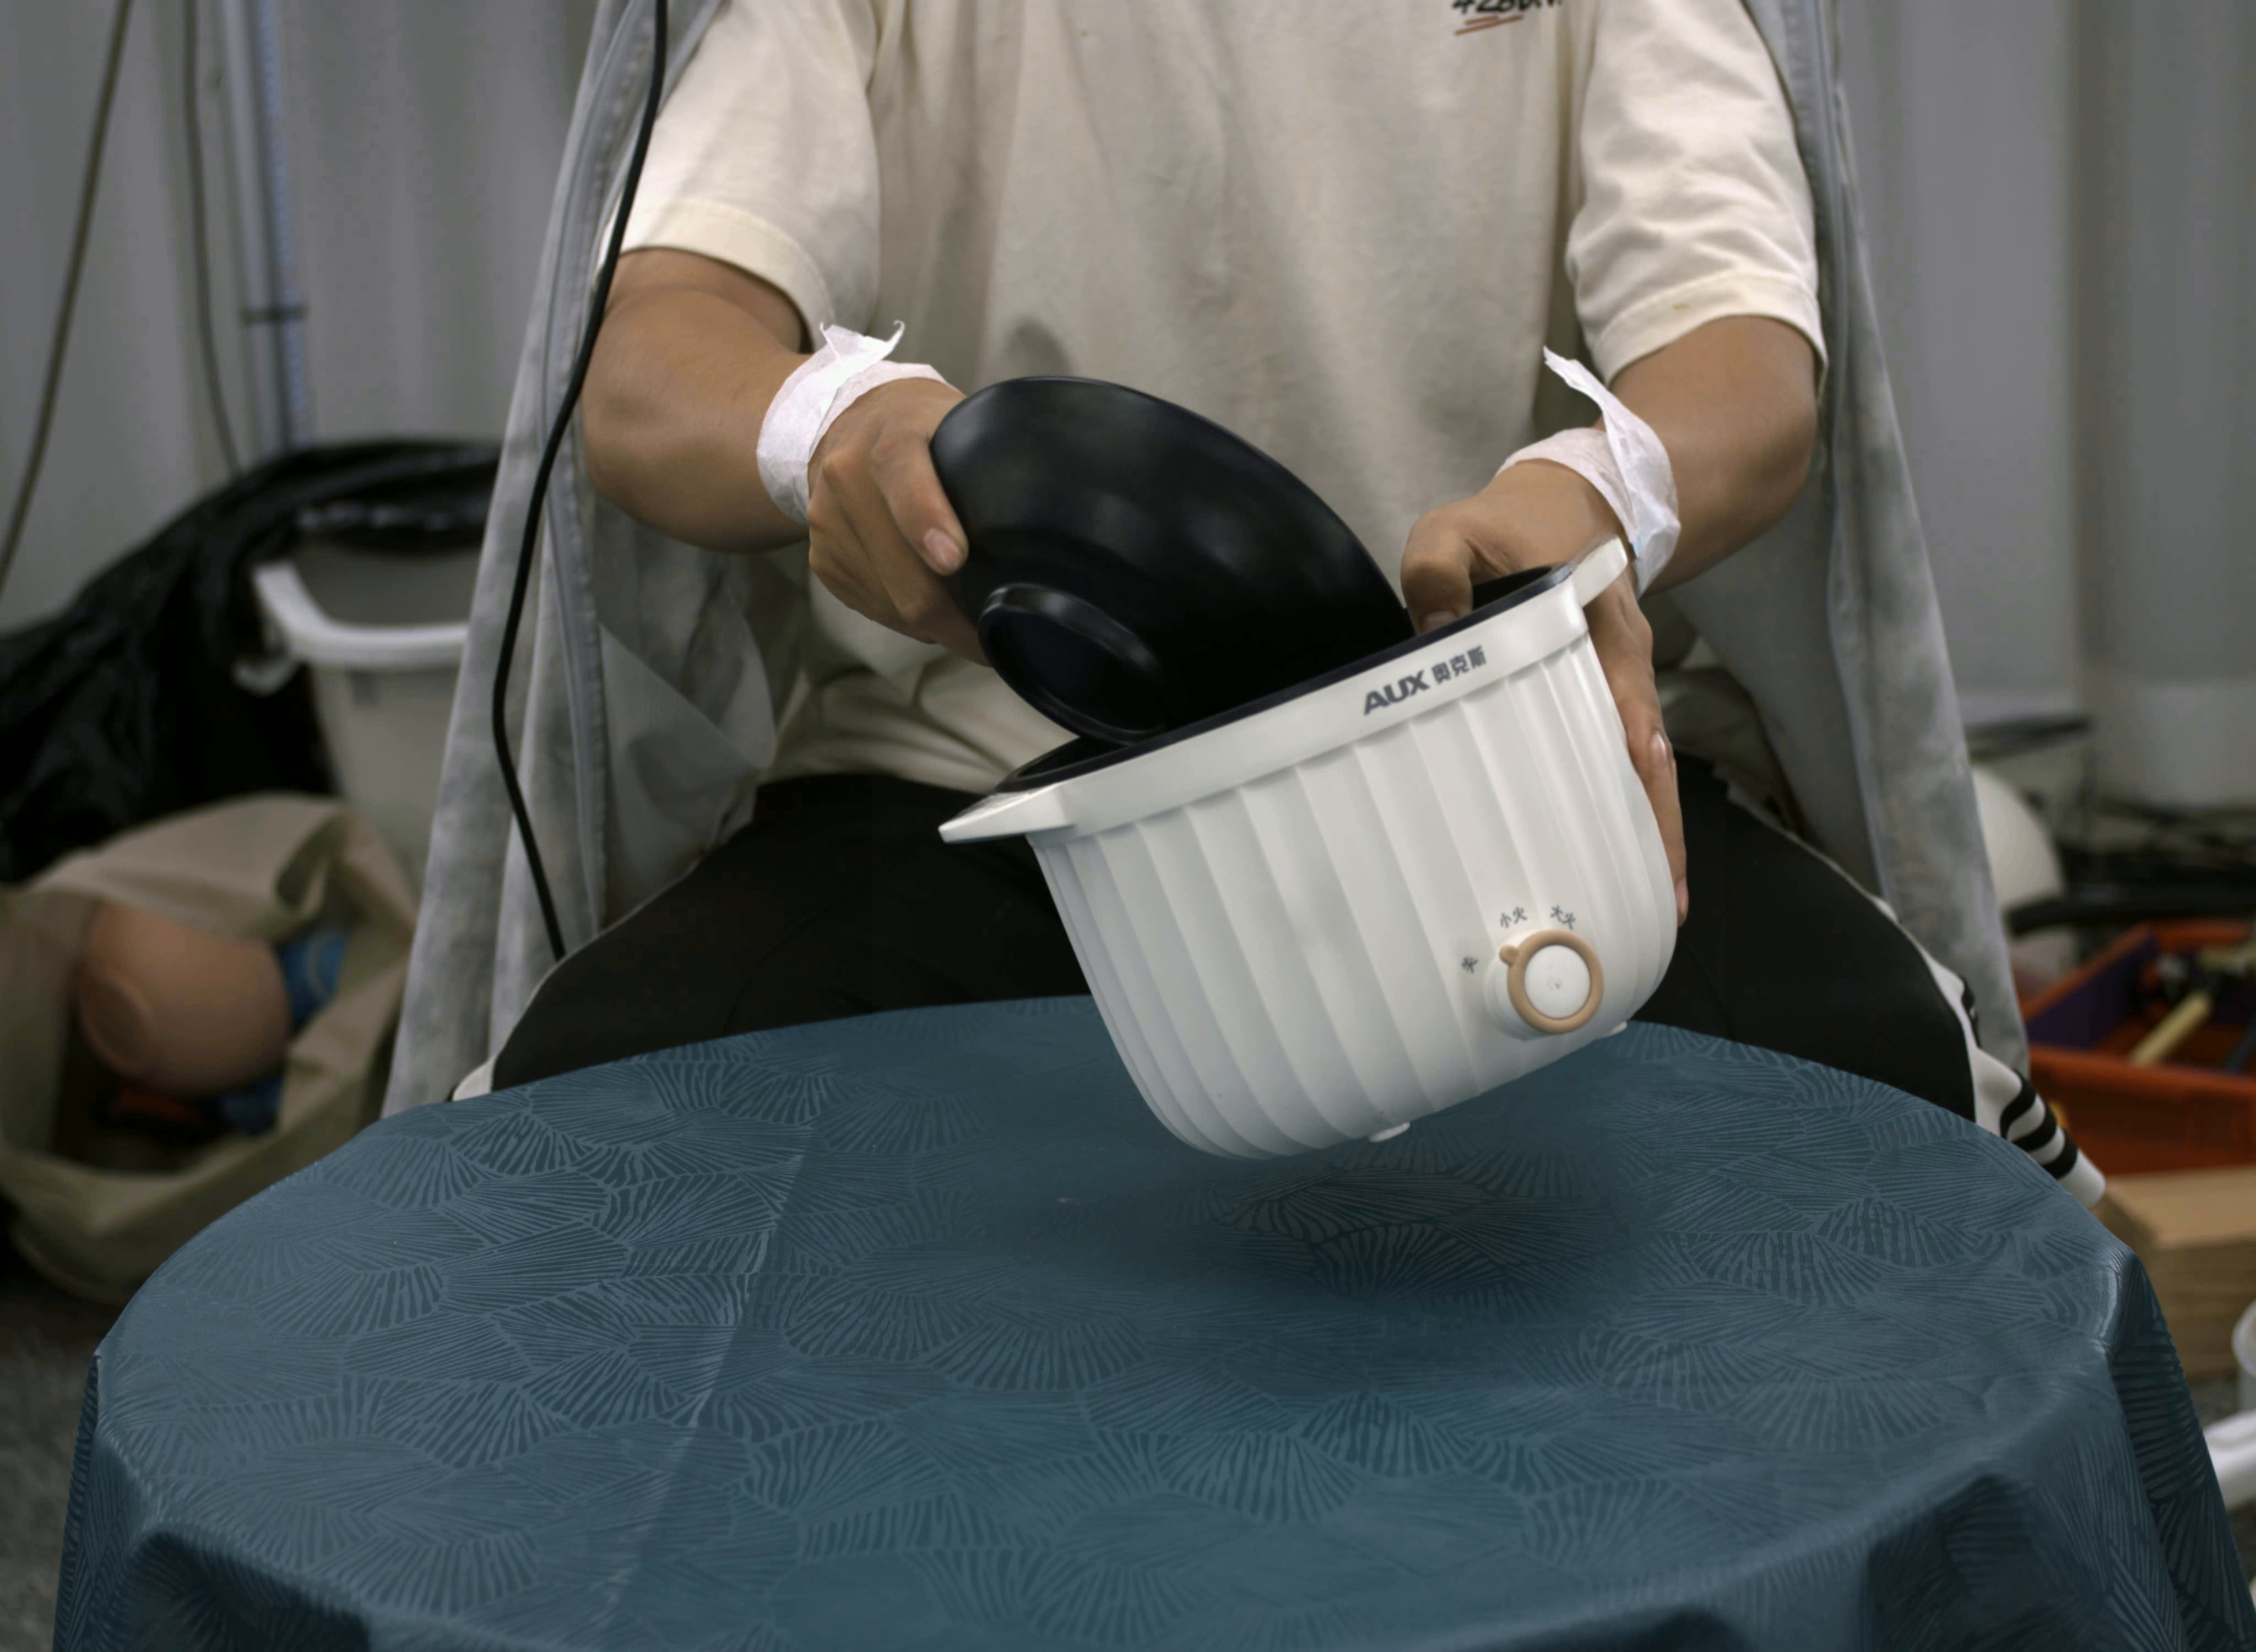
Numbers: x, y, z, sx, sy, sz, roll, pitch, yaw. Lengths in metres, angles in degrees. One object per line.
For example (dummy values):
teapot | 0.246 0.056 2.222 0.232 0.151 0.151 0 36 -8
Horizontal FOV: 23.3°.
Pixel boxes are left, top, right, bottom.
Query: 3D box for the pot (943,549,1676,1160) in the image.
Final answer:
pot | 0.074 0.014 1.646 0.240 0.143 0.190 -24 1 -23

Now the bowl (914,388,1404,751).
bowl | 0.000 -0.065 1.654 0.171 0.135 0.067 22 63 24
